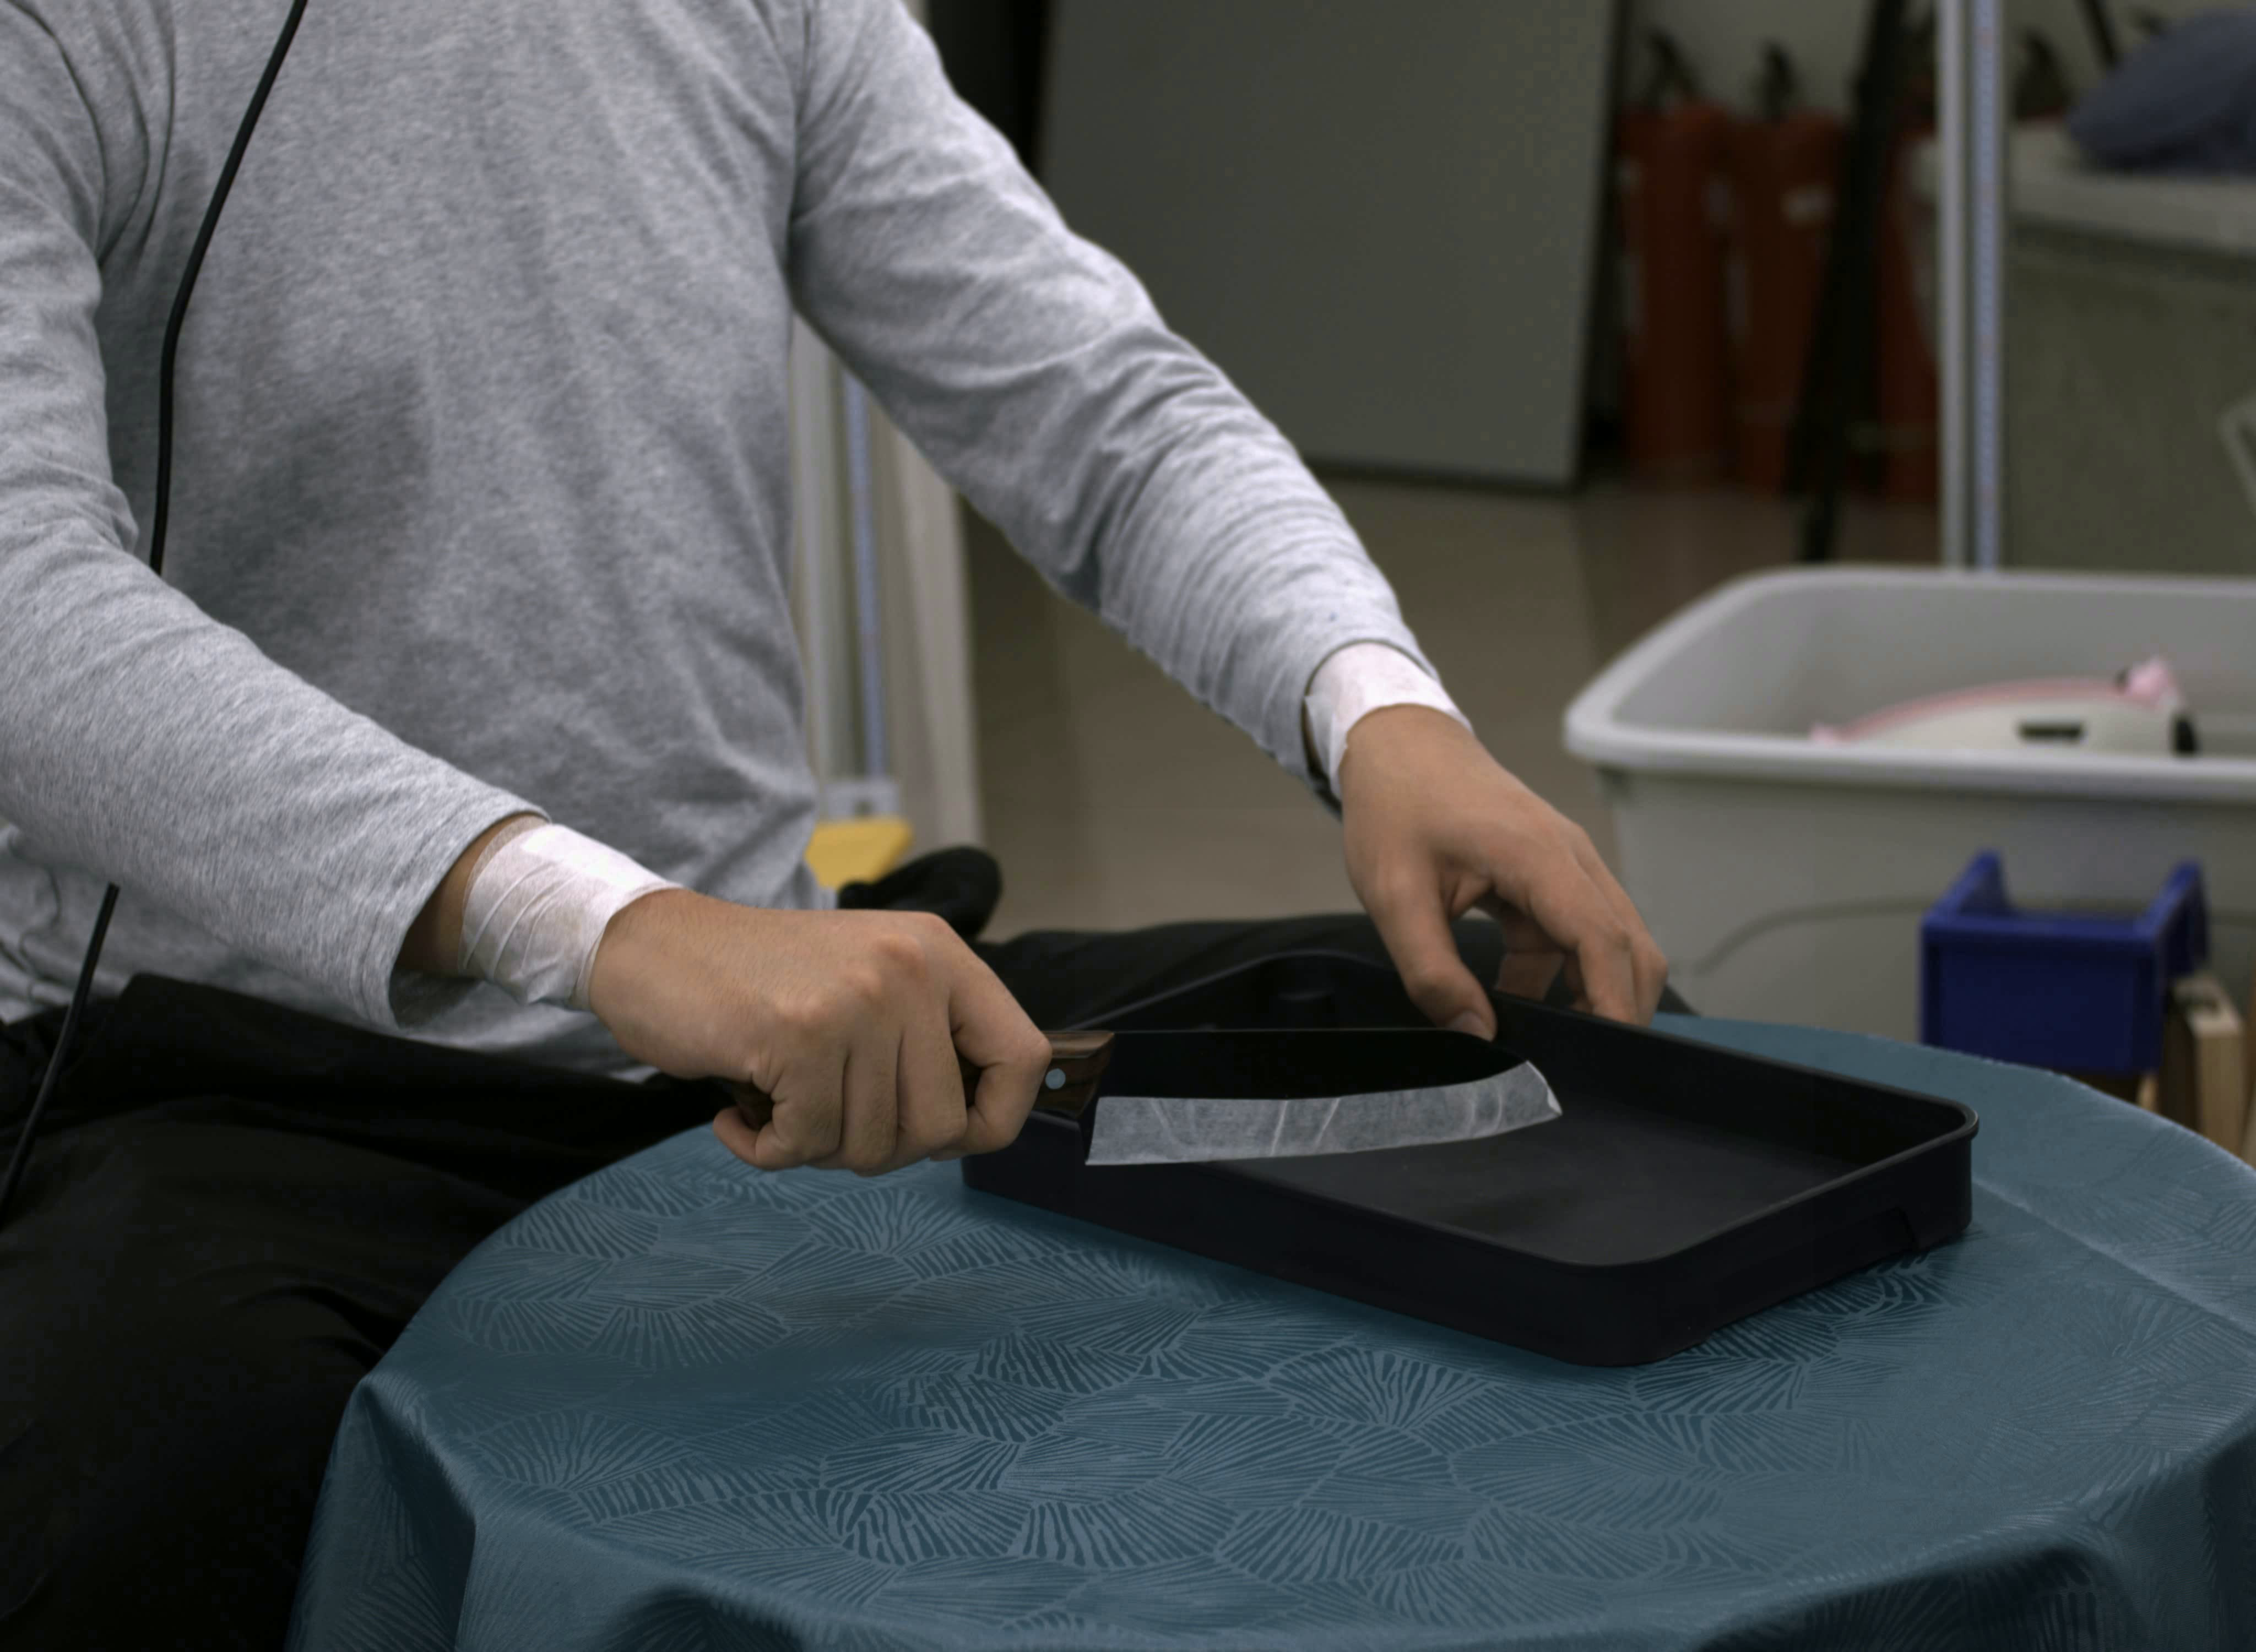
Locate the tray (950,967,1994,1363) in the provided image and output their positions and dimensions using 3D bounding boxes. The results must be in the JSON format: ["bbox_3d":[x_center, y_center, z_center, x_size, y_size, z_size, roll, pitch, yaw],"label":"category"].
[{"bbox_3d":[0.106,0.104,1.730,0.180,0.037,0.321,-18,18,-40],"label":"tray"}]

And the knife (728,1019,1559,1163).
[{"bbox_3d":[0.010,0.081,1.675,0.282,0.051,0.020,3,17,-23],"label":"knife"}]
